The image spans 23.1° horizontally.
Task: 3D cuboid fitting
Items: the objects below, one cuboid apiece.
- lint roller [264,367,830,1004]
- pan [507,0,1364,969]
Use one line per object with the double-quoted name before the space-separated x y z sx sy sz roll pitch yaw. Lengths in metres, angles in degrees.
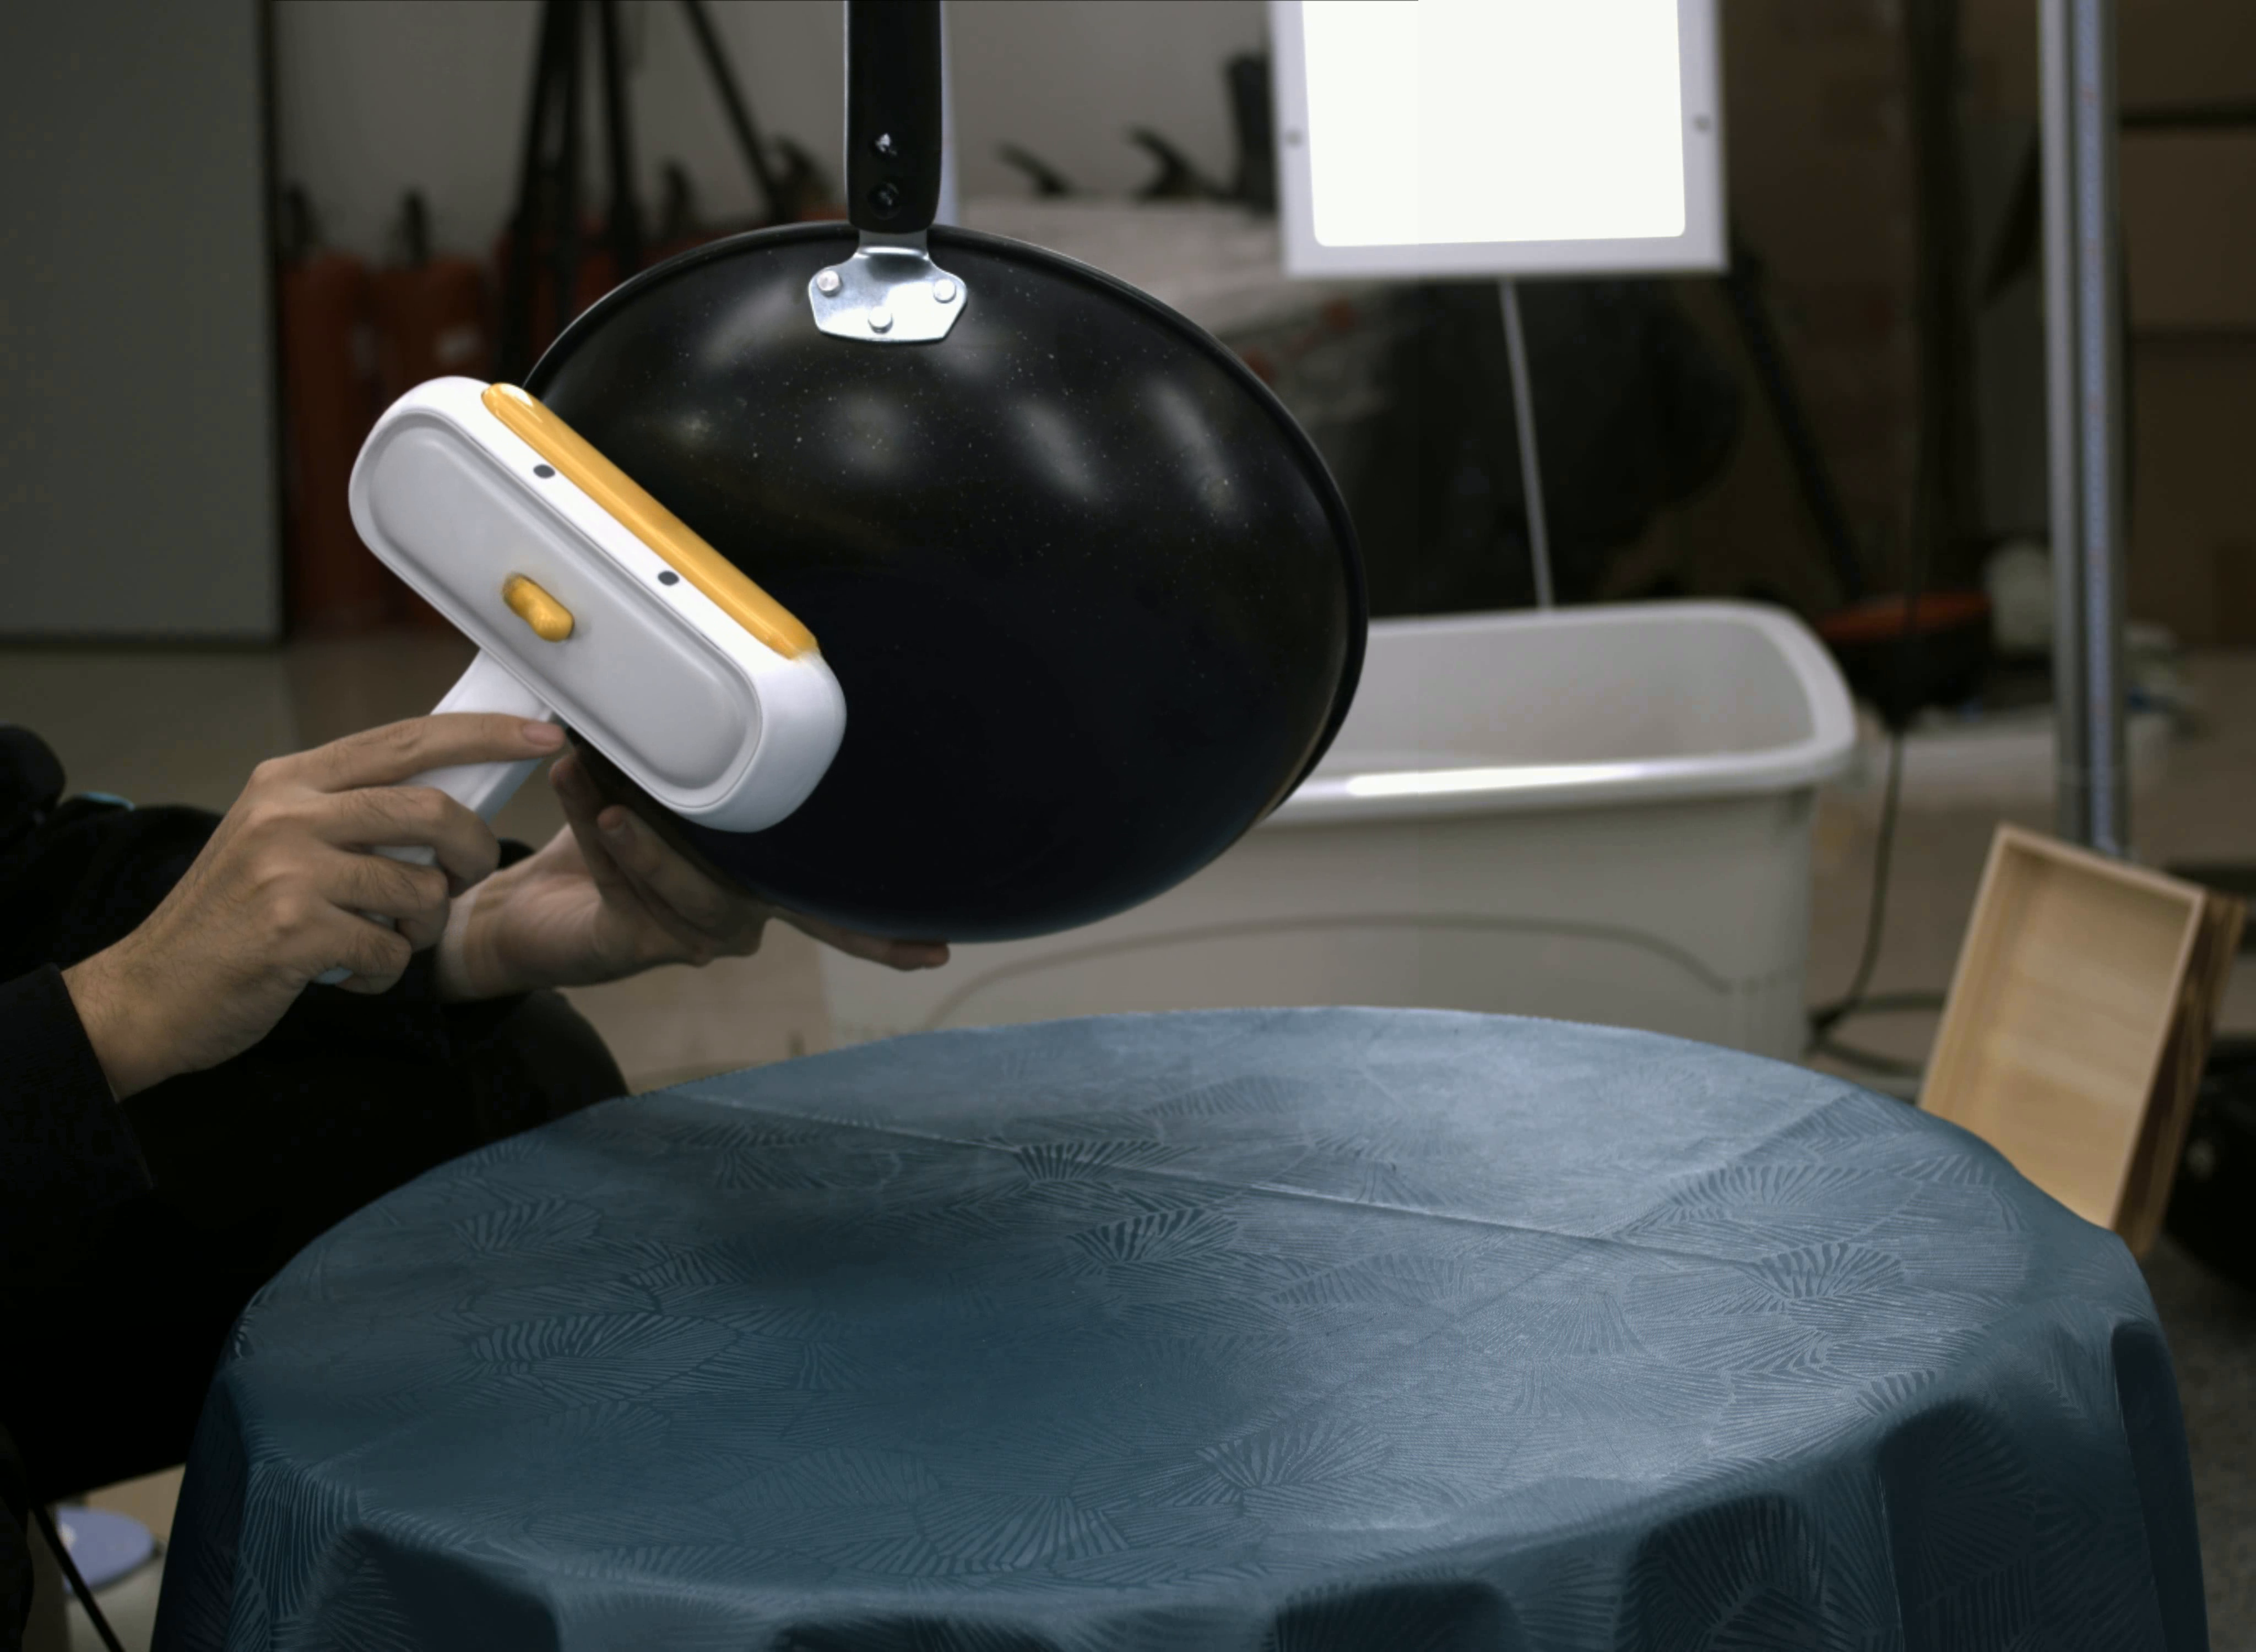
"lint roller" -0.213 -0.027 1.793 0.194 0.194 0.073 35 12 16
"pan" -0.078 -0.122 1.832 0.311 0.479 0.110 4 43 8
